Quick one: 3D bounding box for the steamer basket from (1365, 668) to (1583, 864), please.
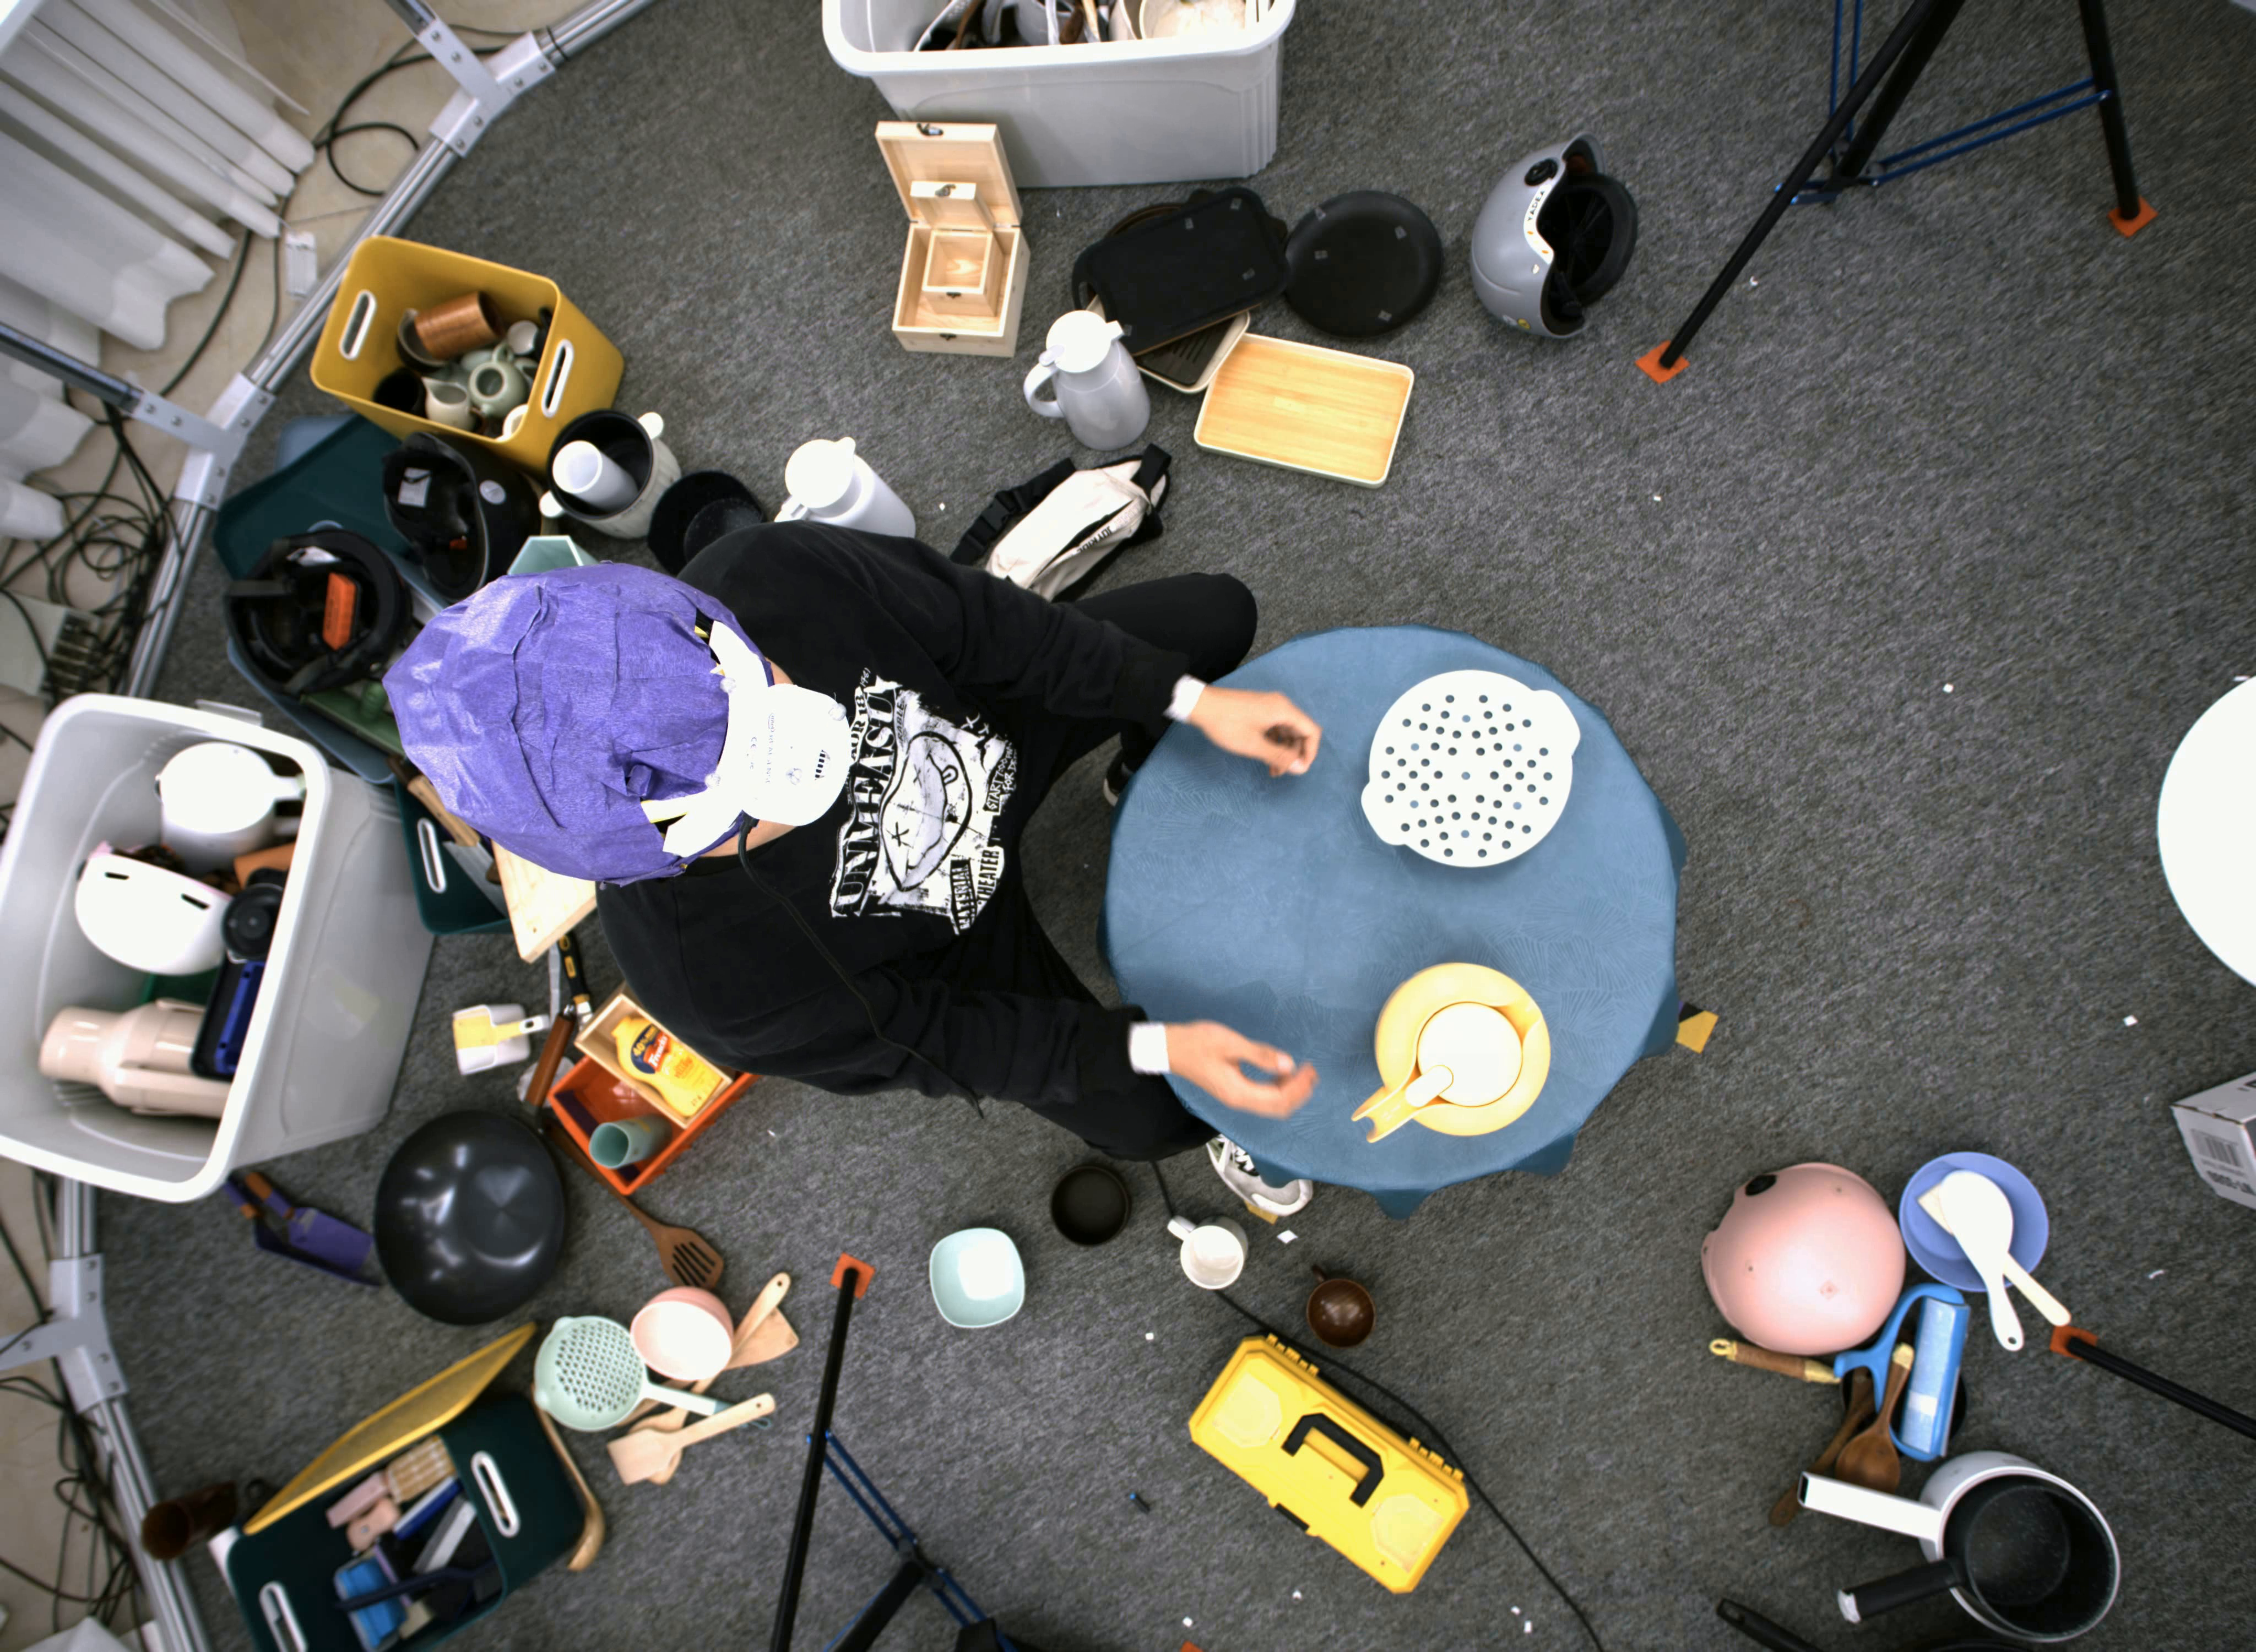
[{"bbox_3d":[0.356,-0.061,1.421,0.232,0.069,0.201,-29,83,8],"label":"steamer basket"}]

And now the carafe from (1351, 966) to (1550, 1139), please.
[{"bbox_3d":[0.300,0.222,1.315,0.203,0.261,0.162,-35,77,4],"label":"carafe"}]
